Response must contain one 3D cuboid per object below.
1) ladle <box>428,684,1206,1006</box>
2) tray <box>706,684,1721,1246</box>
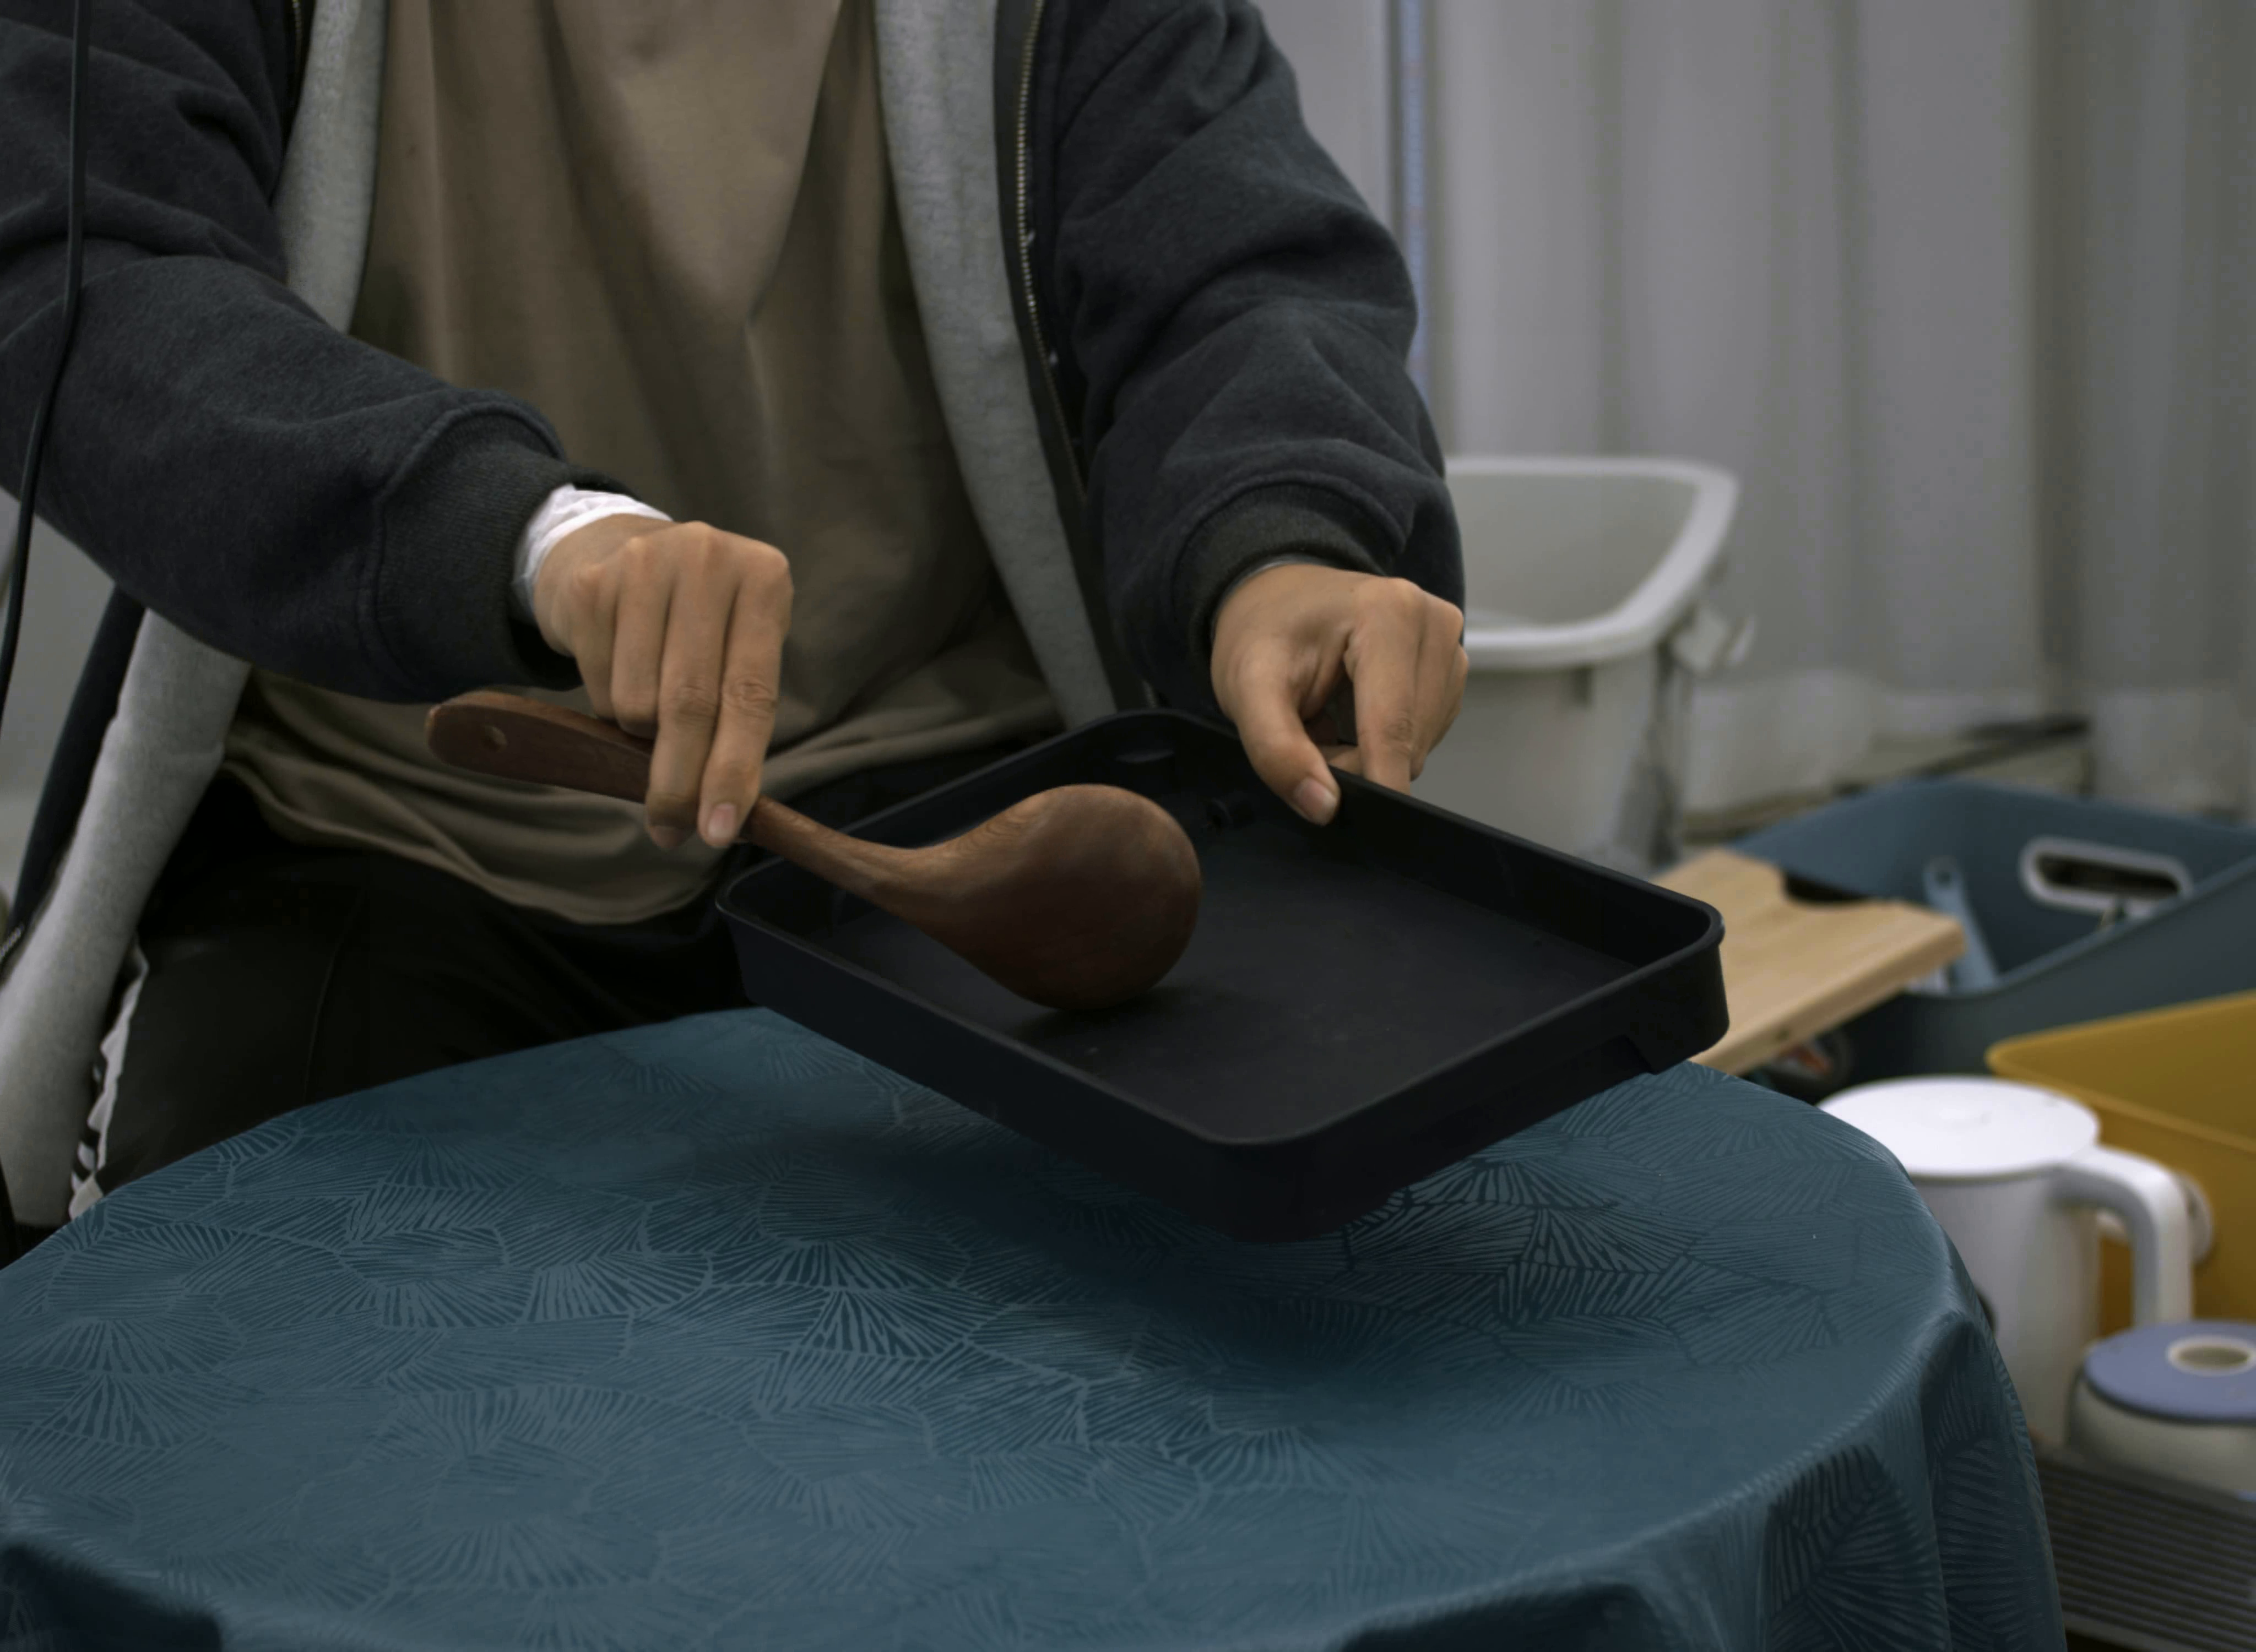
[{"bbox_3d":[-0.098,-0.006,1.712,0.261,0.076,0.065,18,26,25],"label":"ladle"},{"bbox_3d":[0.021,0.036,1.679,0.184,0.037,0.320,-24,26,-27],"label":"tray"}]
